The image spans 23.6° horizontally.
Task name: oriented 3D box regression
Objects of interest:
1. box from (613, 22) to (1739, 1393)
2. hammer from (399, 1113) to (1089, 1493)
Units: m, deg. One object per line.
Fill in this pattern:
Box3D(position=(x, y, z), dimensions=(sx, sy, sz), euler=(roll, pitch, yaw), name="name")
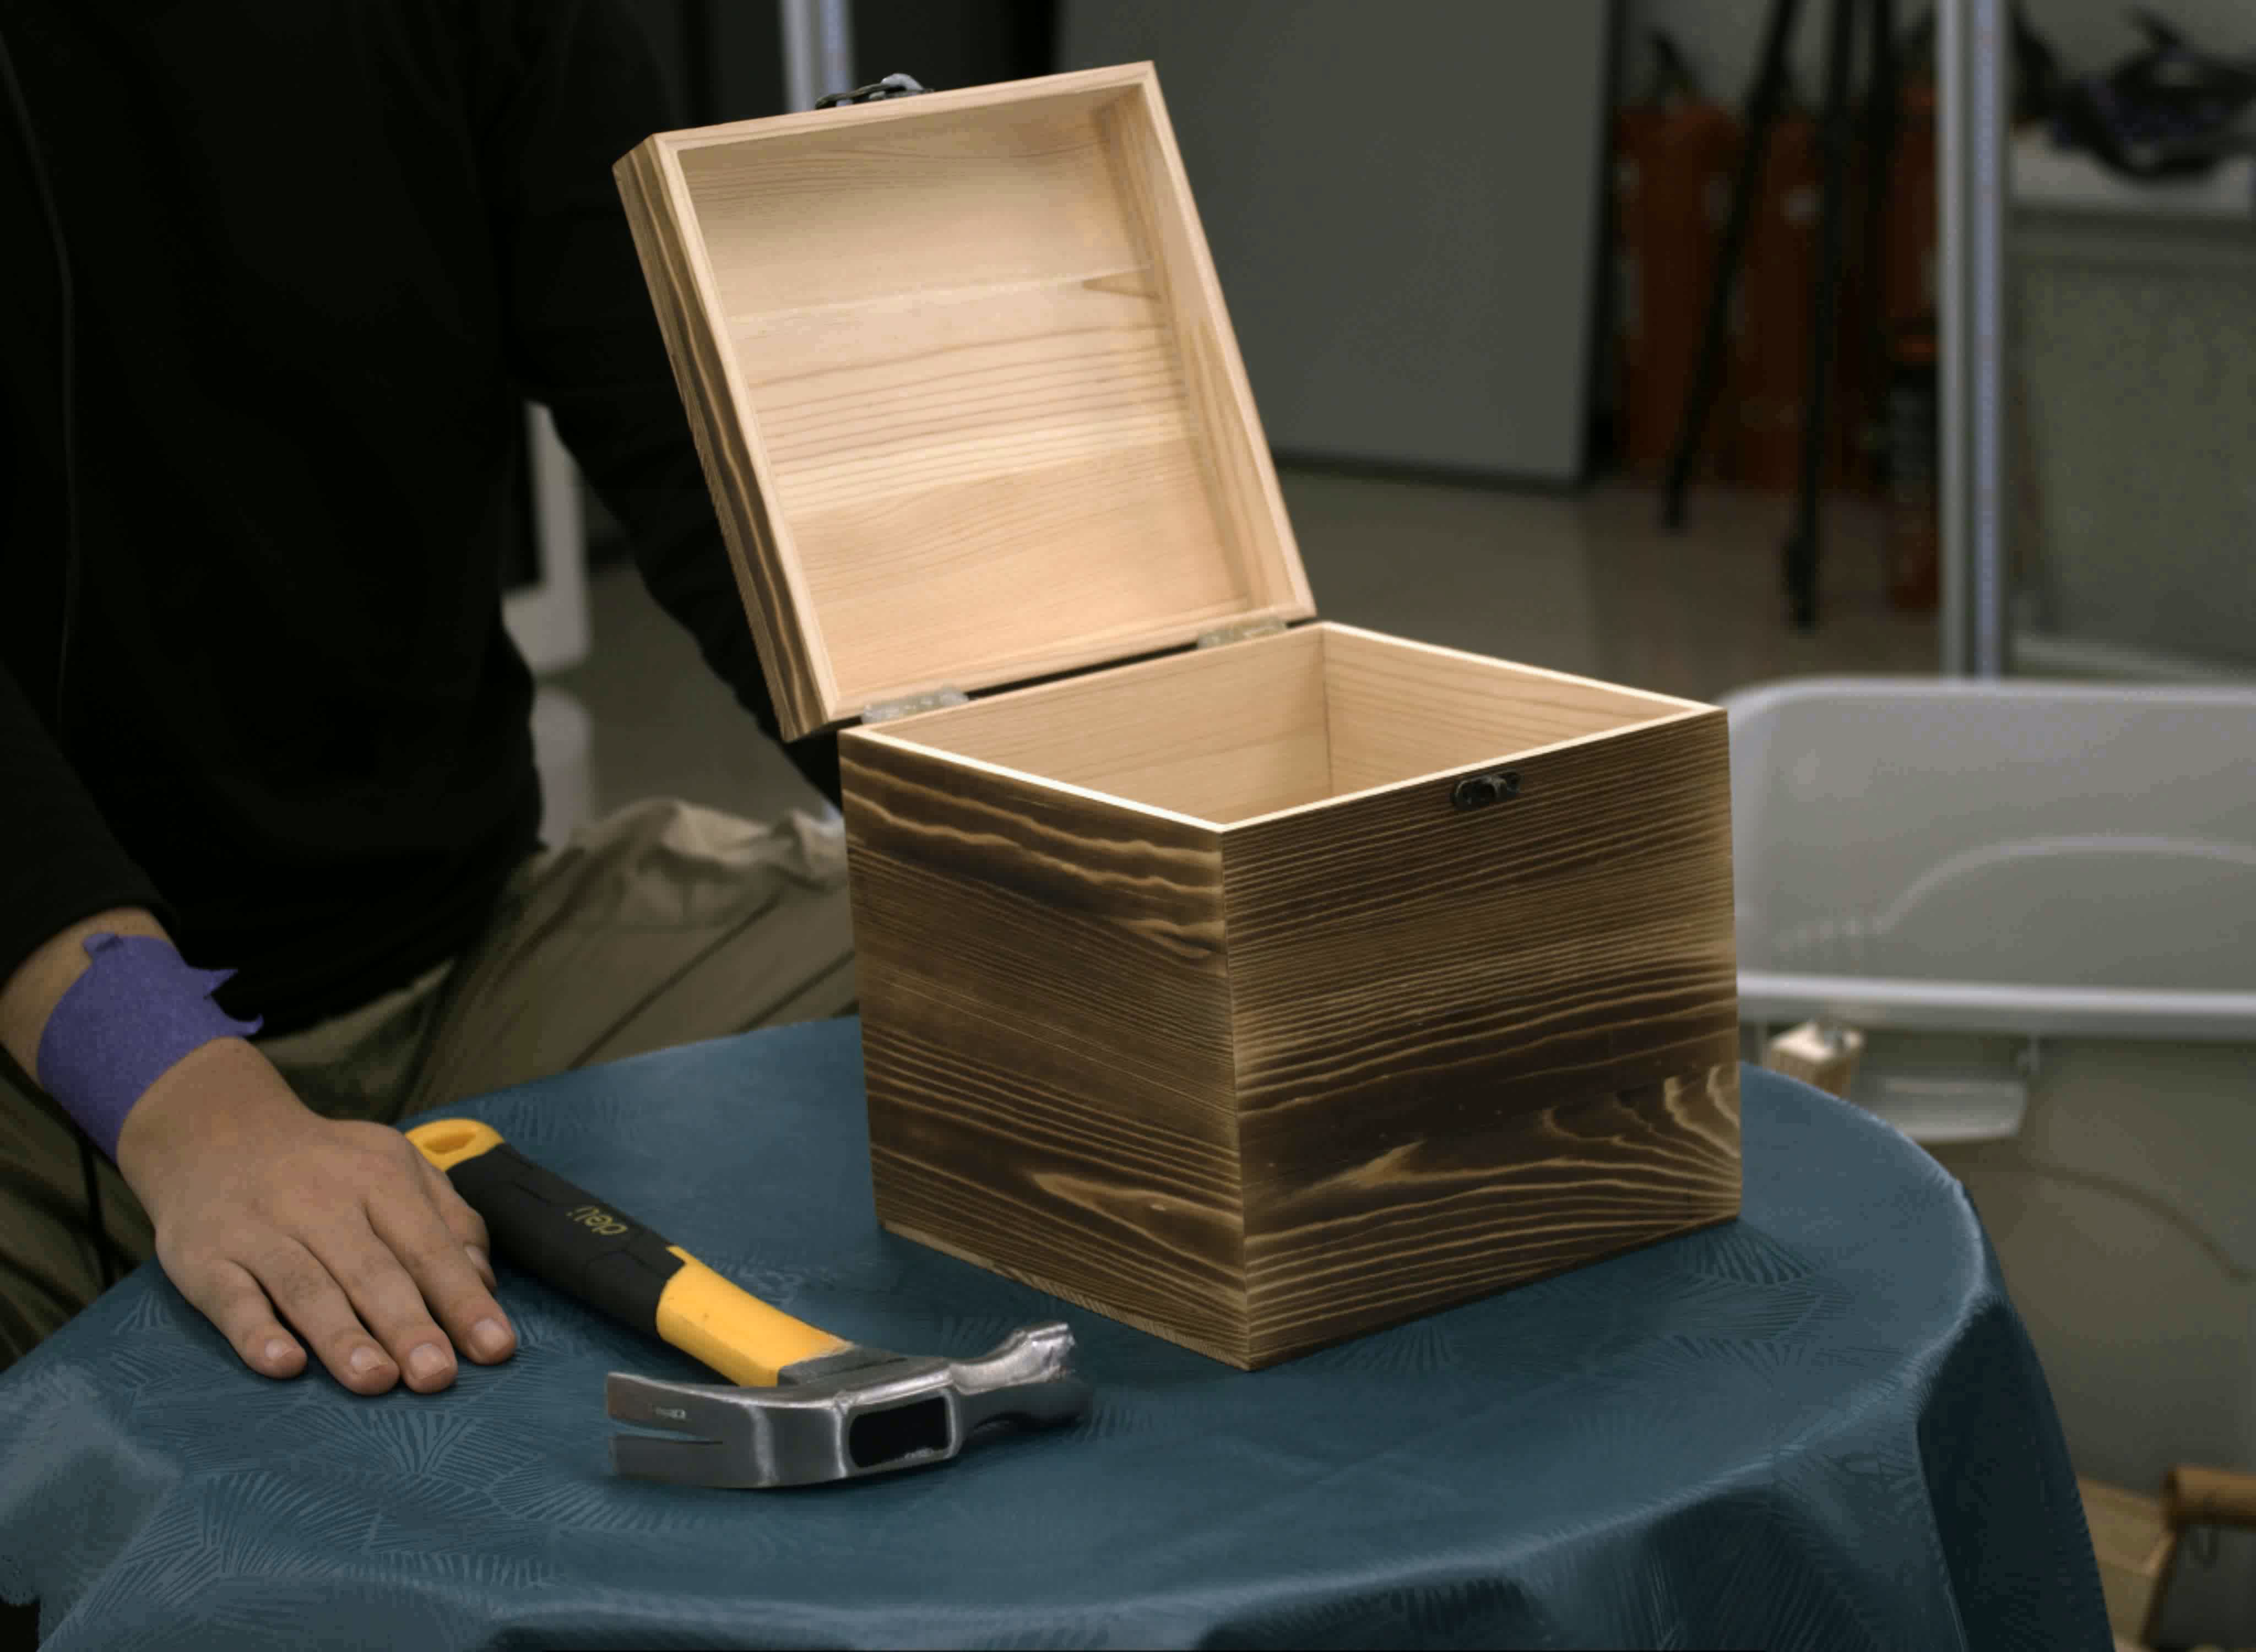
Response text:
Box3D(position=(0.013, -0.056, 1.727), dimensions=(0.204, 0.379, 0.325), euler=(-14, 17, -34), name="box")
Box3D(position=(-0.147, 0.140, 1.672), dimensions=(0.128, 0.032, 0.342), euler=(-11, 16, -27), name="hammer")
